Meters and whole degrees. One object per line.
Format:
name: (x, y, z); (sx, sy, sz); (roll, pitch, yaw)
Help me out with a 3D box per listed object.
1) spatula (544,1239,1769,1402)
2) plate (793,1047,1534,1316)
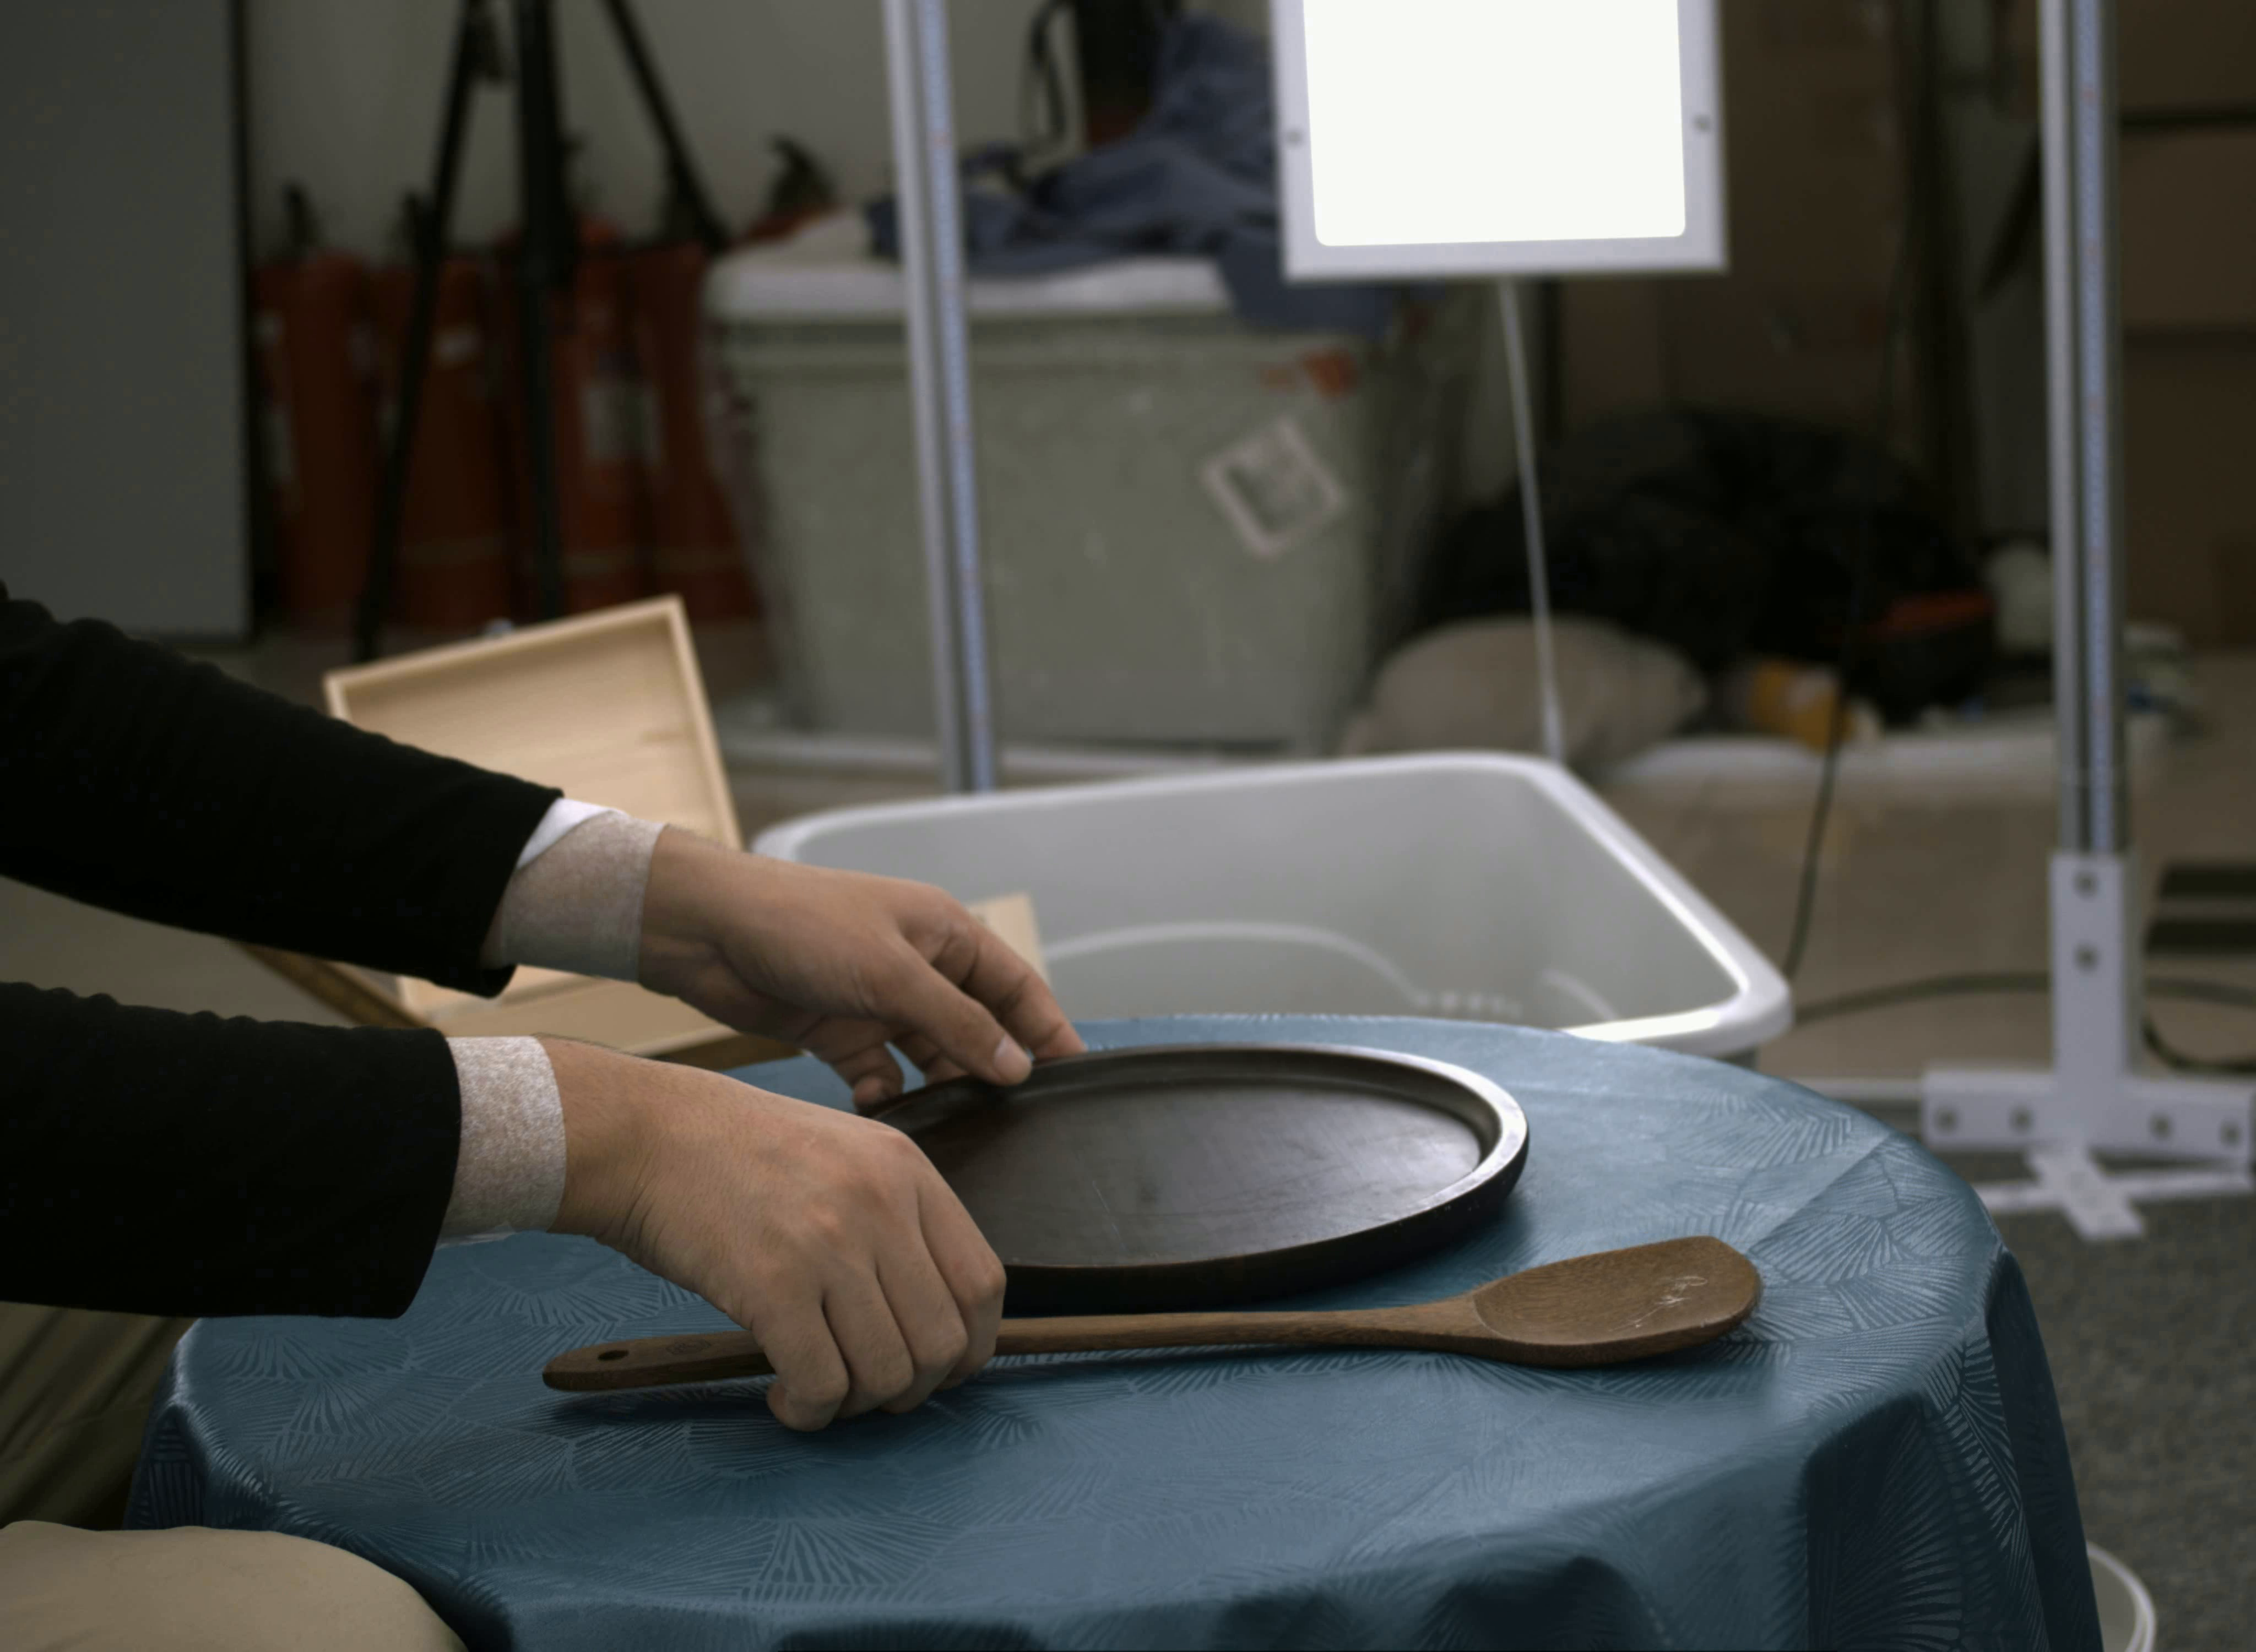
spatula: (0.008, 0.159, 1.725); (0.385, 0.016, 0.096); (-4, 14, 2)
plate: (0.013, 0.118, 1.877); (0.254, 0.029, 0.254); (-5, 15, 0)
